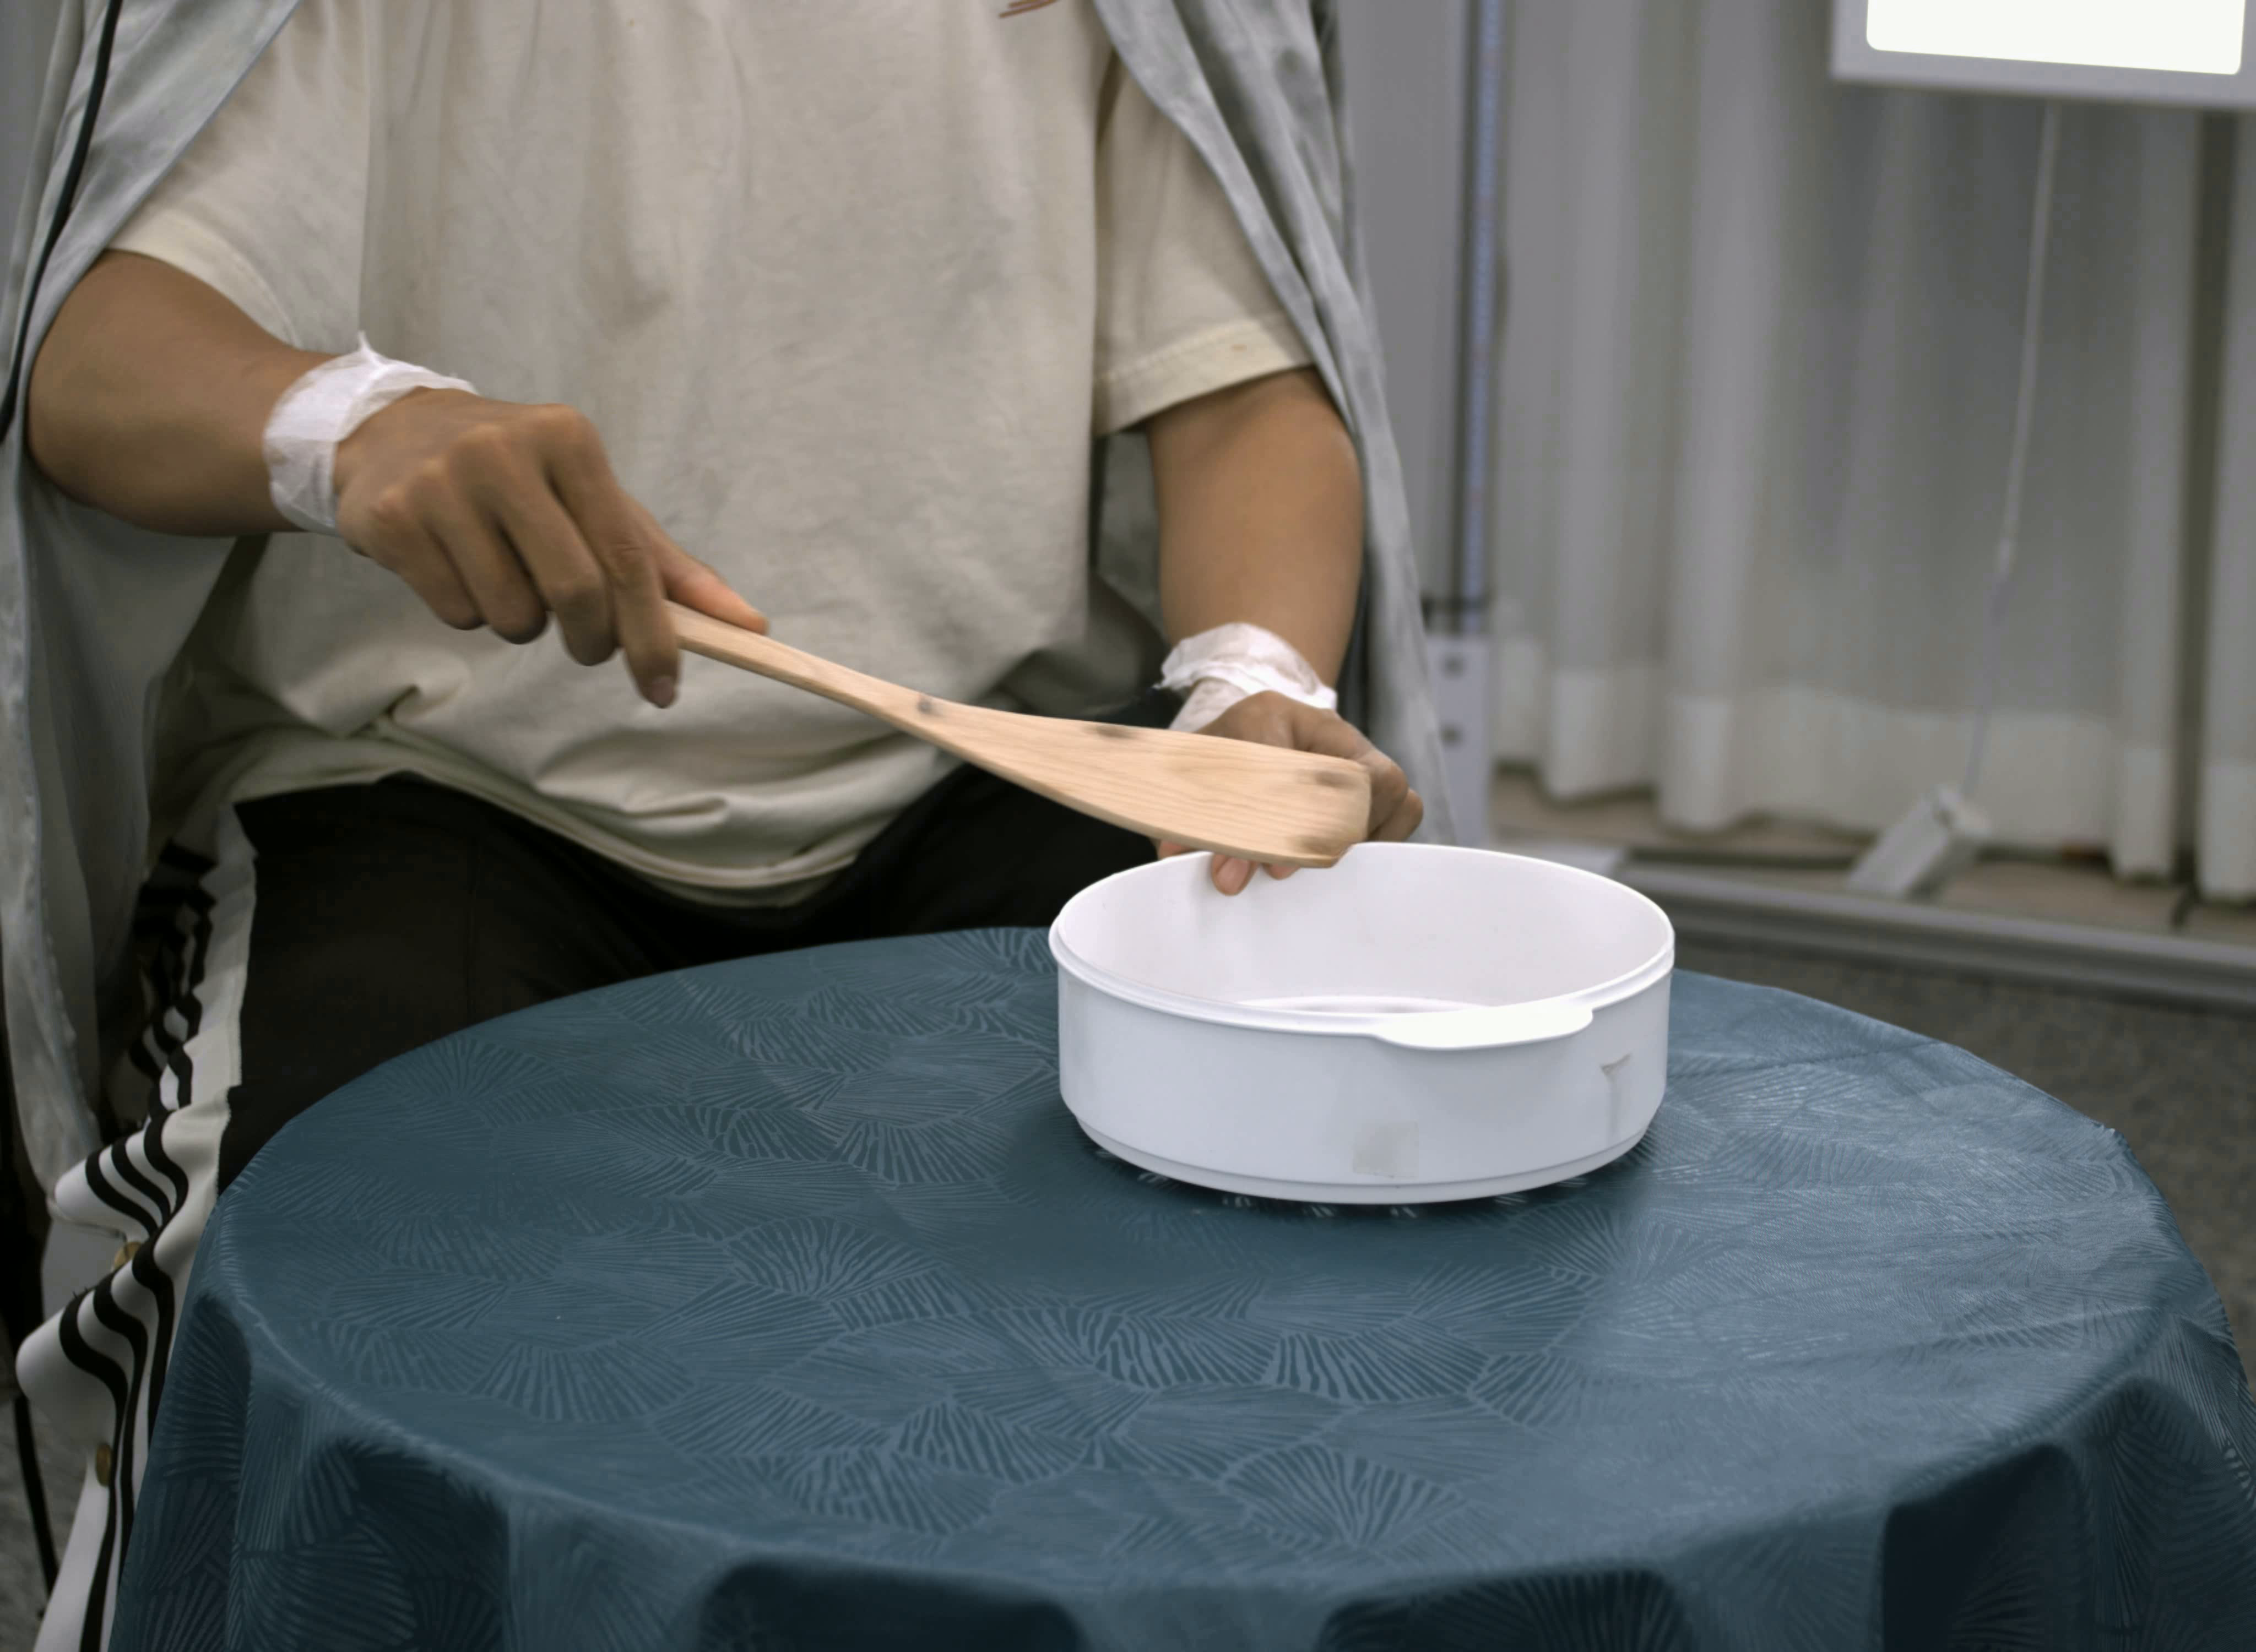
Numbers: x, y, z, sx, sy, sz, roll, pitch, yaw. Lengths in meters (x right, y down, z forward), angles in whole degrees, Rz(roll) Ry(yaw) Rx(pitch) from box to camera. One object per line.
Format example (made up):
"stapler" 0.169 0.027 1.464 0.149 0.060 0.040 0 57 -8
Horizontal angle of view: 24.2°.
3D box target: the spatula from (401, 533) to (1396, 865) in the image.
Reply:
"spatula" -0.070 -0.044 1.621 0.326 0.016 0.080 17 25 7

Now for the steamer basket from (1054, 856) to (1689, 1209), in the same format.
"steamer basket" 0.077 0.065 1.677 0.202 0.070 0.228 -4 15 -20
